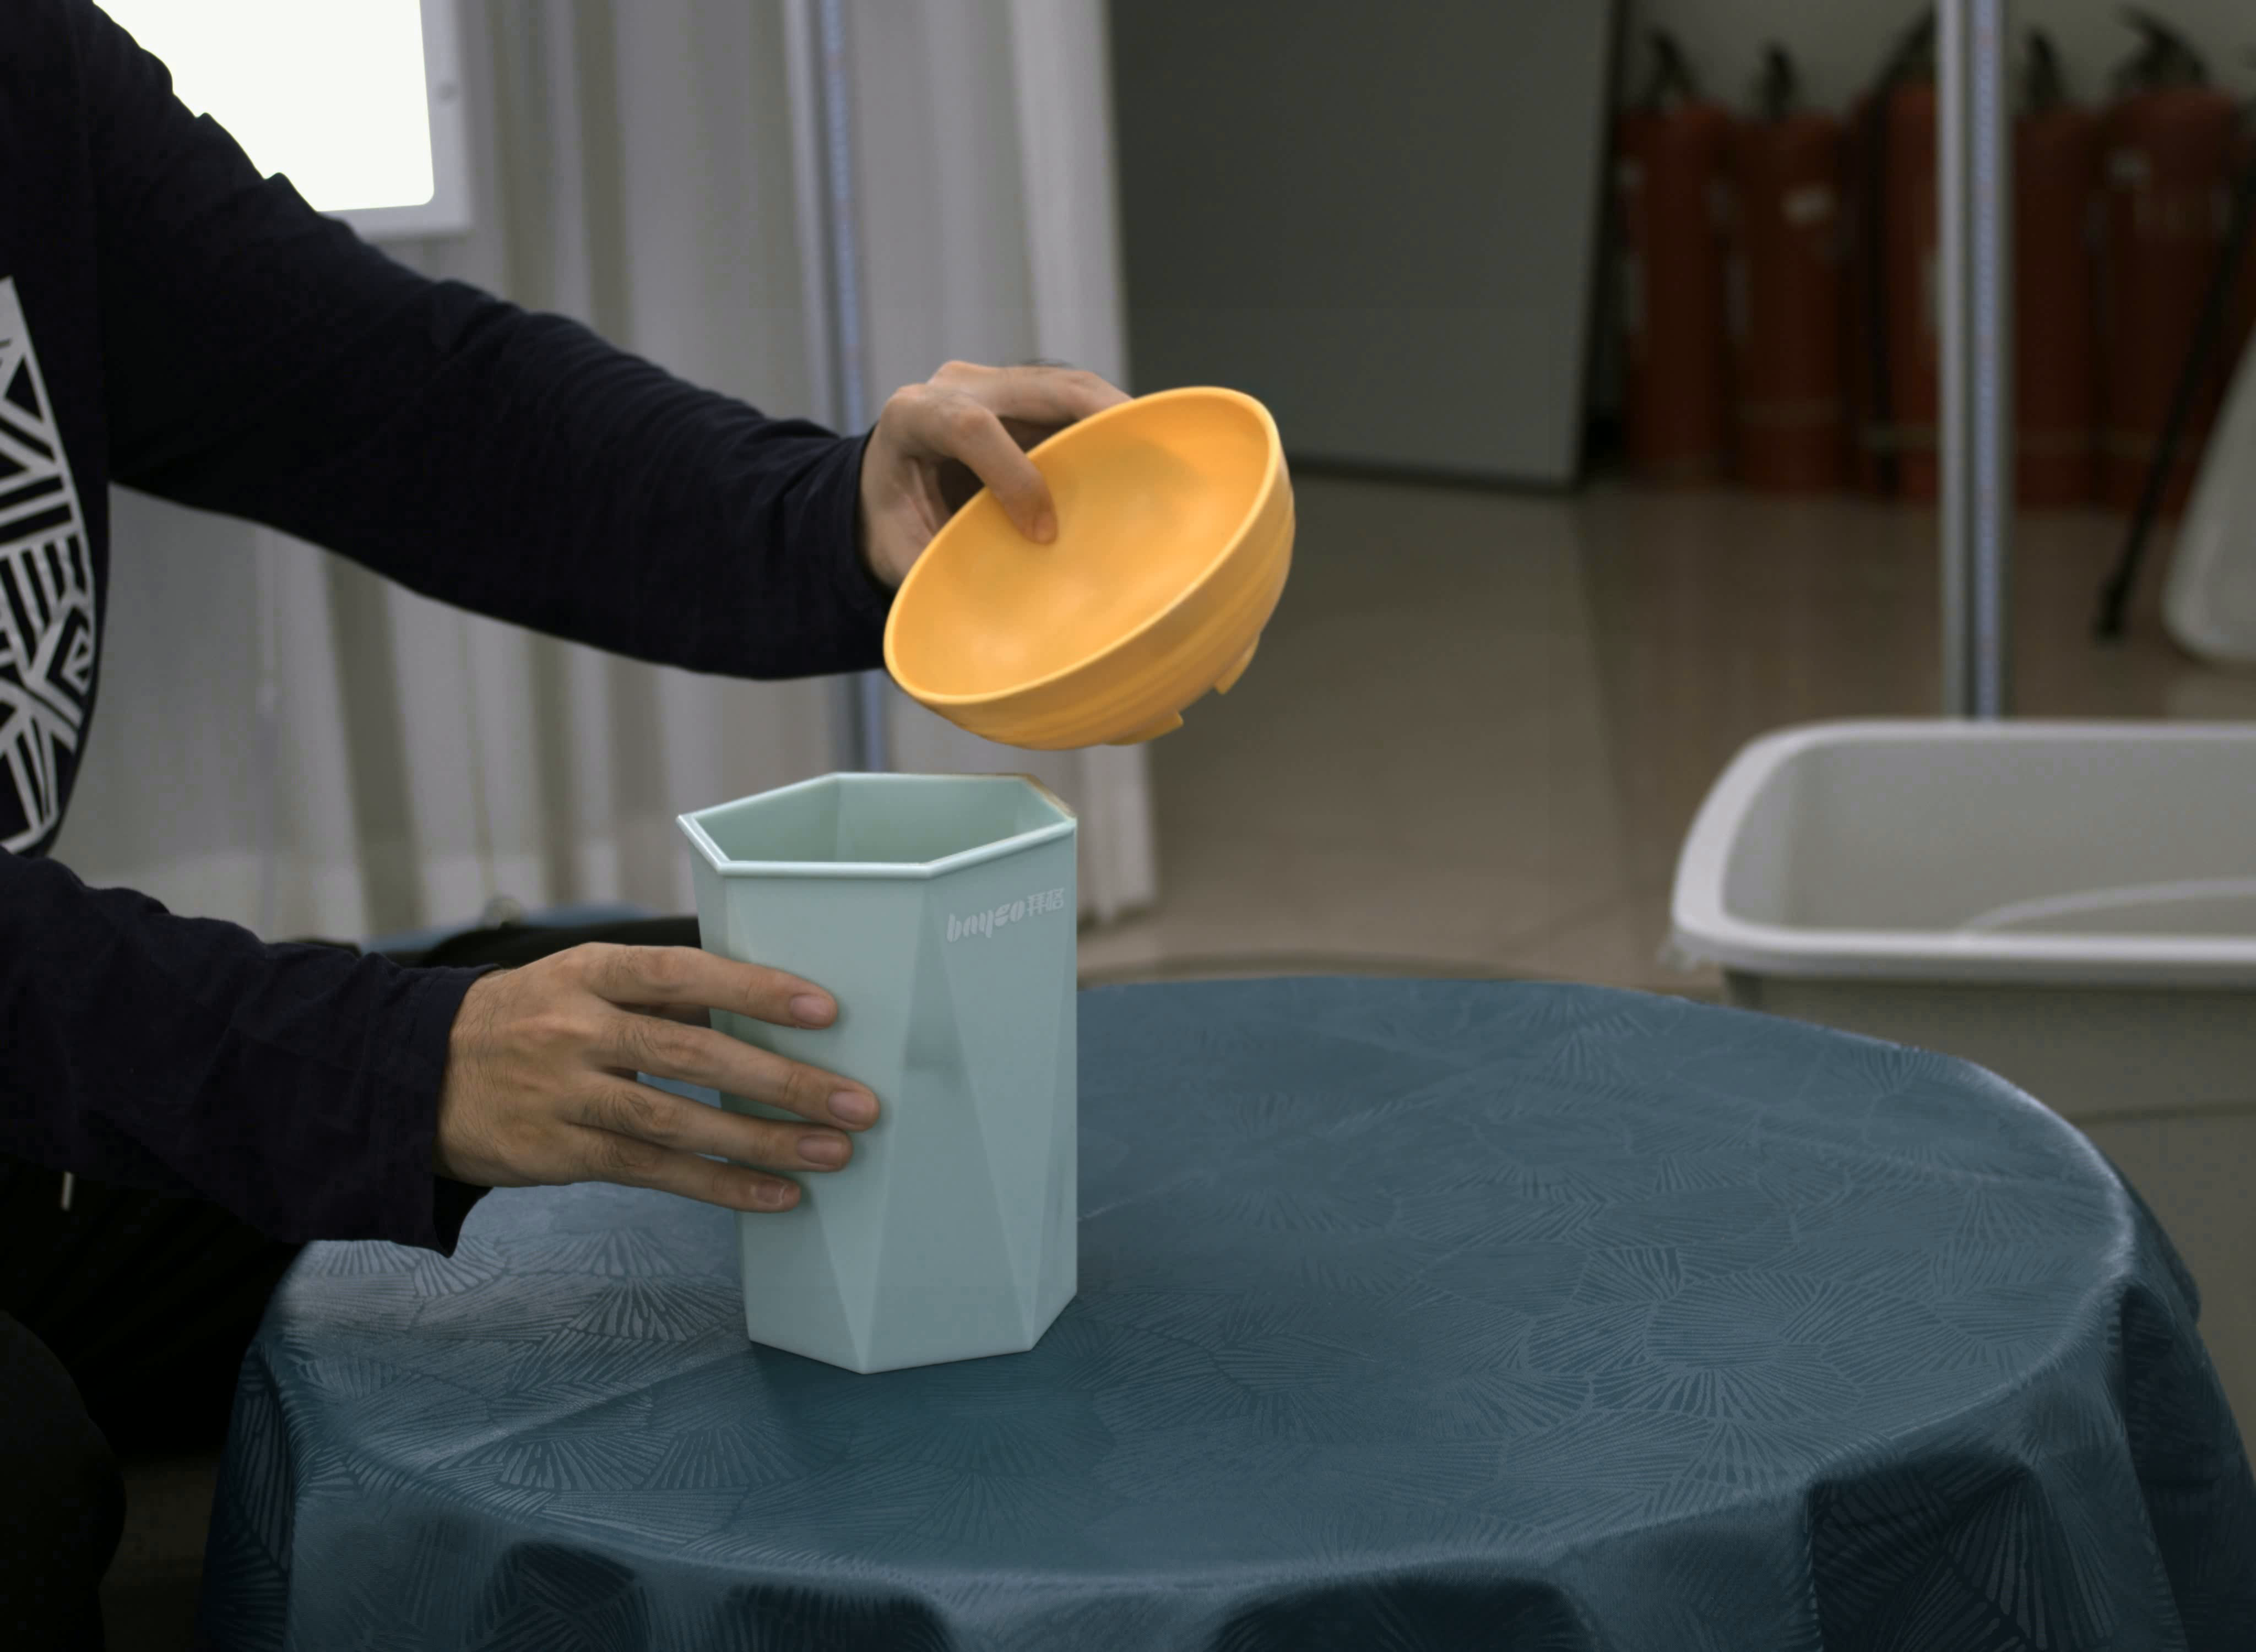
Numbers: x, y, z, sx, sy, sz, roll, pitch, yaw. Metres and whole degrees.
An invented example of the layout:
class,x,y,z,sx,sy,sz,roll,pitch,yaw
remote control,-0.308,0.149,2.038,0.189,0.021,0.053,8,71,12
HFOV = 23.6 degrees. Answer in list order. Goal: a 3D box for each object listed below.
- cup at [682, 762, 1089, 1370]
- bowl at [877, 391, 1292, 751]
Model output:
class,x,y,z,sx,sy,sz,roll,pitch,yaw
cup,-0.069,0.072,1.646,0.128,0.165,0.116,-16,17,-43
bowl,-0.003,-0.068,1.694,0.145,0.060,0.146,-26,29,15
